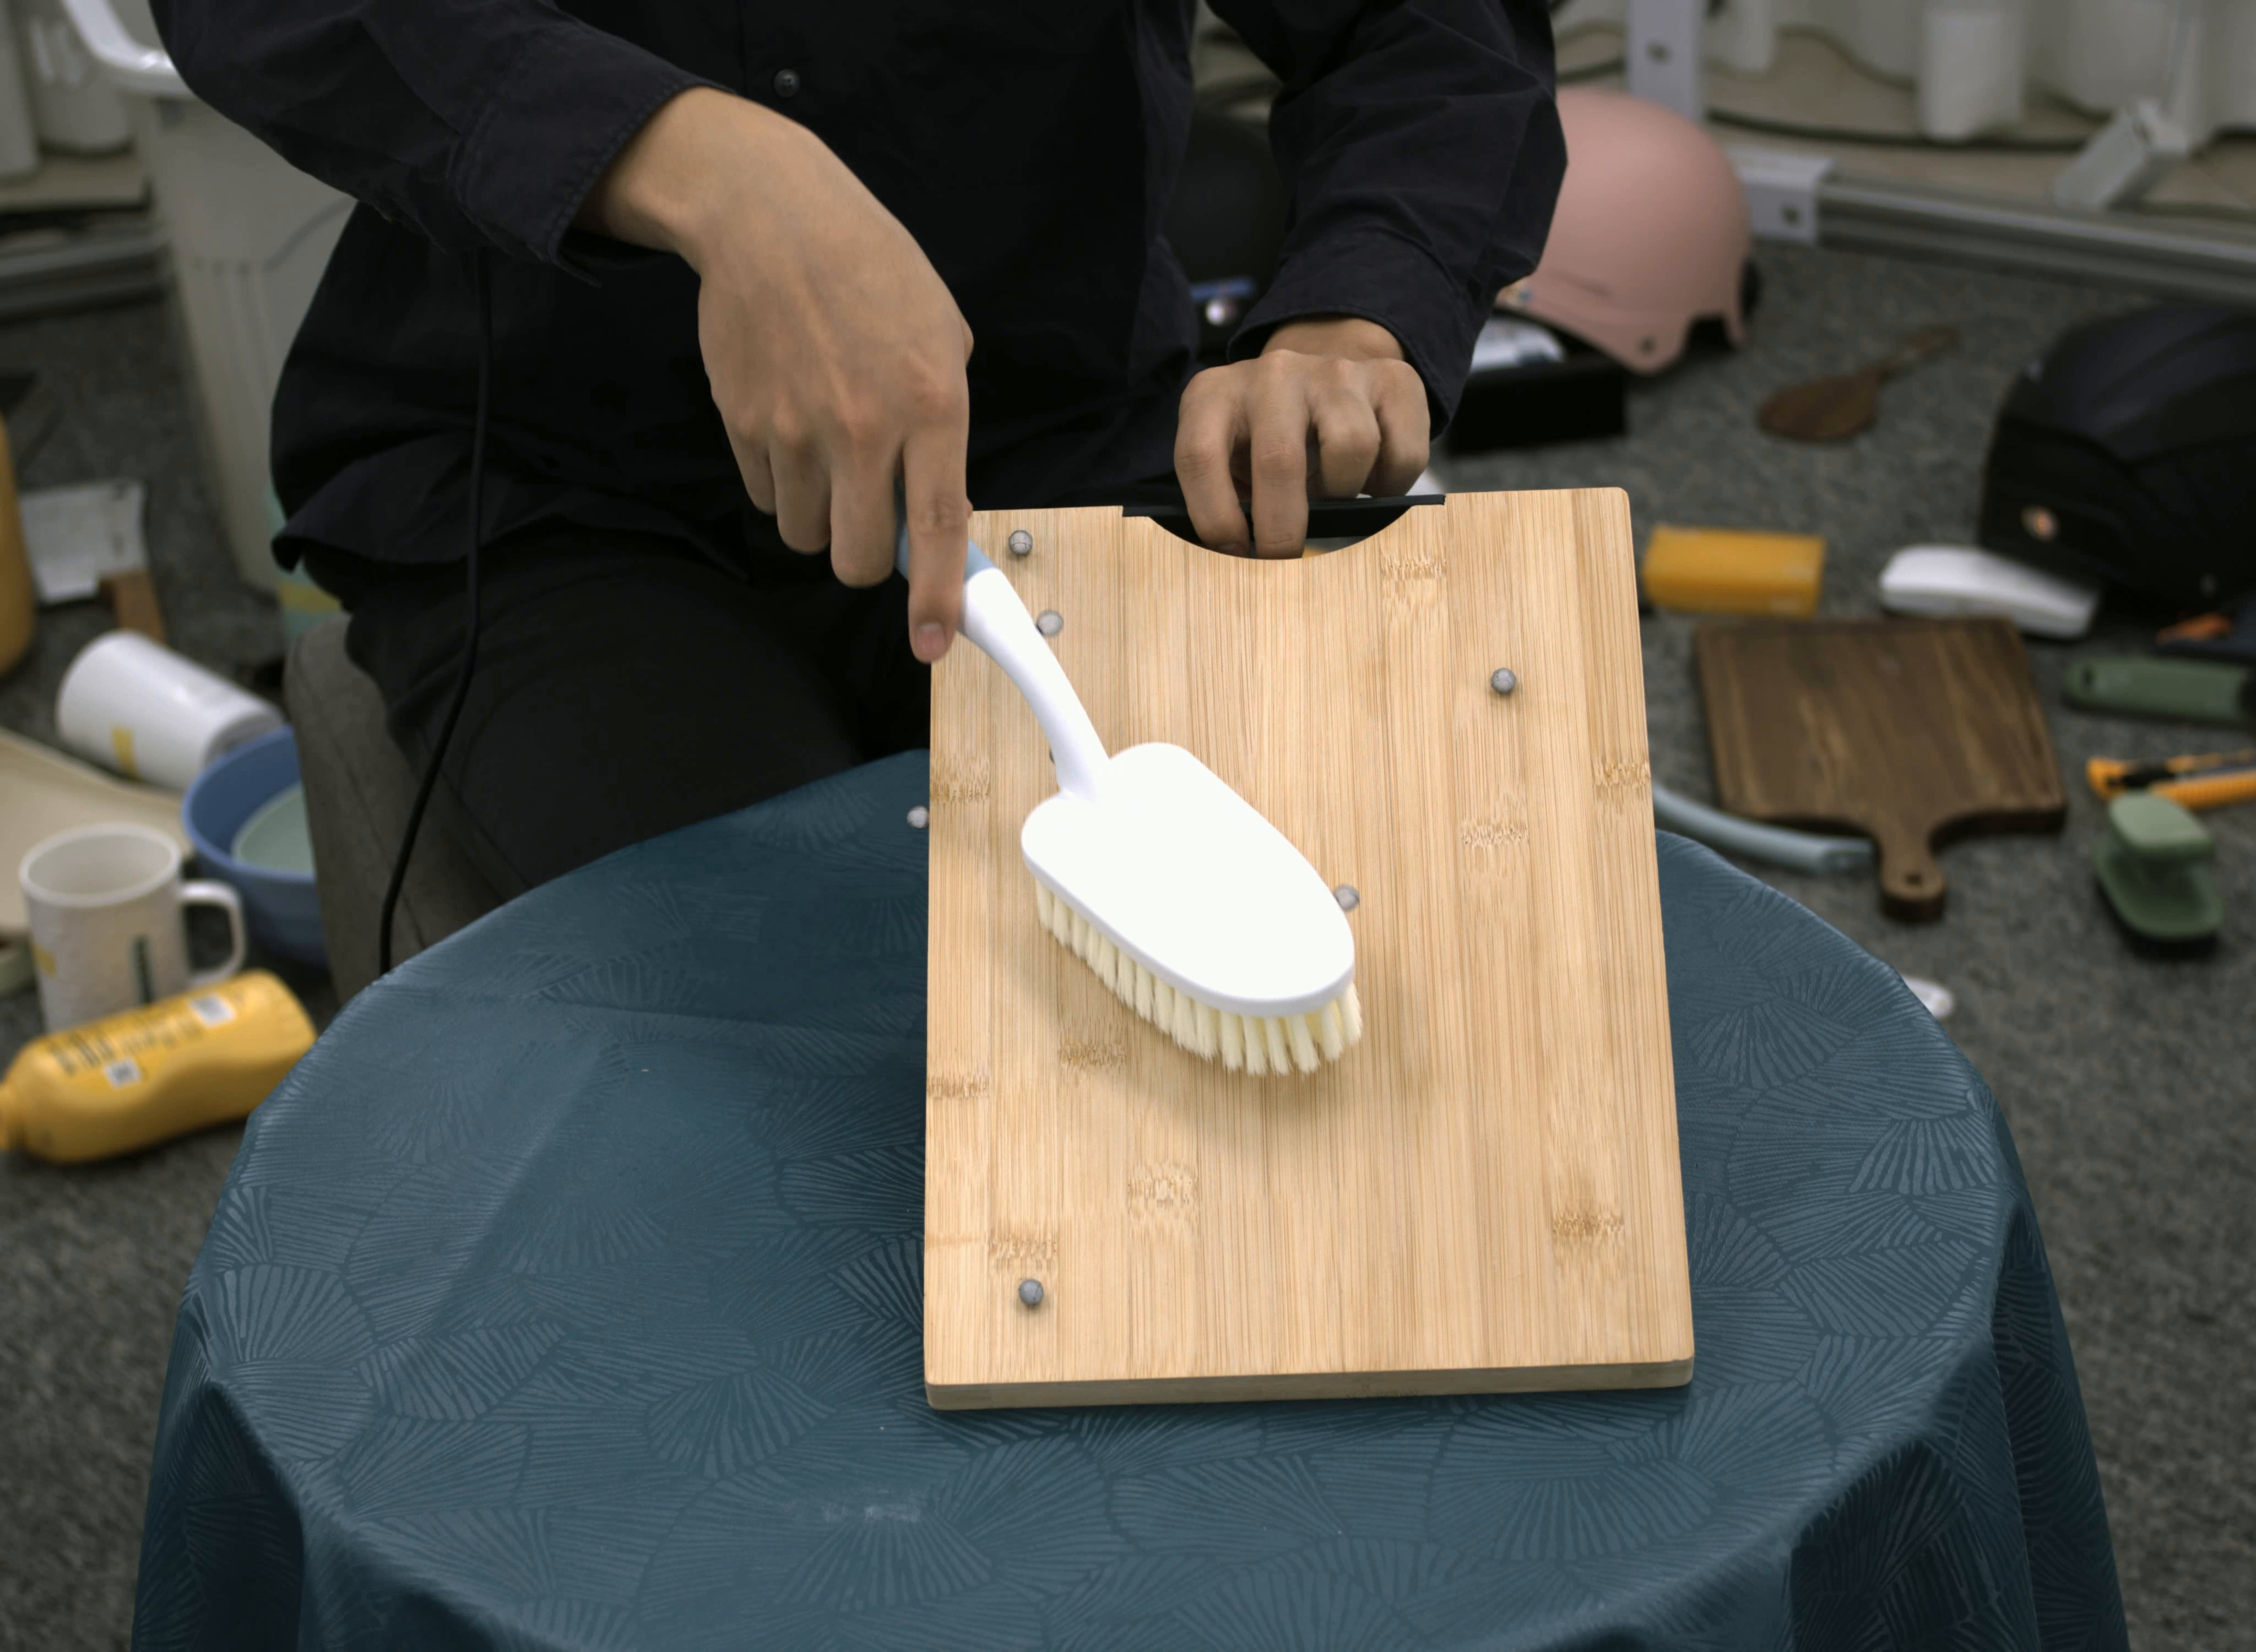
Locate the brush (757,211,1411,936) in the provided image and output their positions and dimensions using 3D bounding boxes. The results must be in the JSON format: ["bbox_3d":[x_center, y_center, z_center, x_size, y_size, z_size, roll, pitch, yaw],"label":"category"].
[{"bbox_3d":[-0.017,-0.079,1.862,0.327,0.083,0.083,47,28,24],"label":"brush"}]

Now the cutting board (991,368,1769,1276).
[{"bbox_3d":[0.076,-0.005,1.856,0.249,0.023,0.355,-3,54,0],"label":"cutting board"}]
